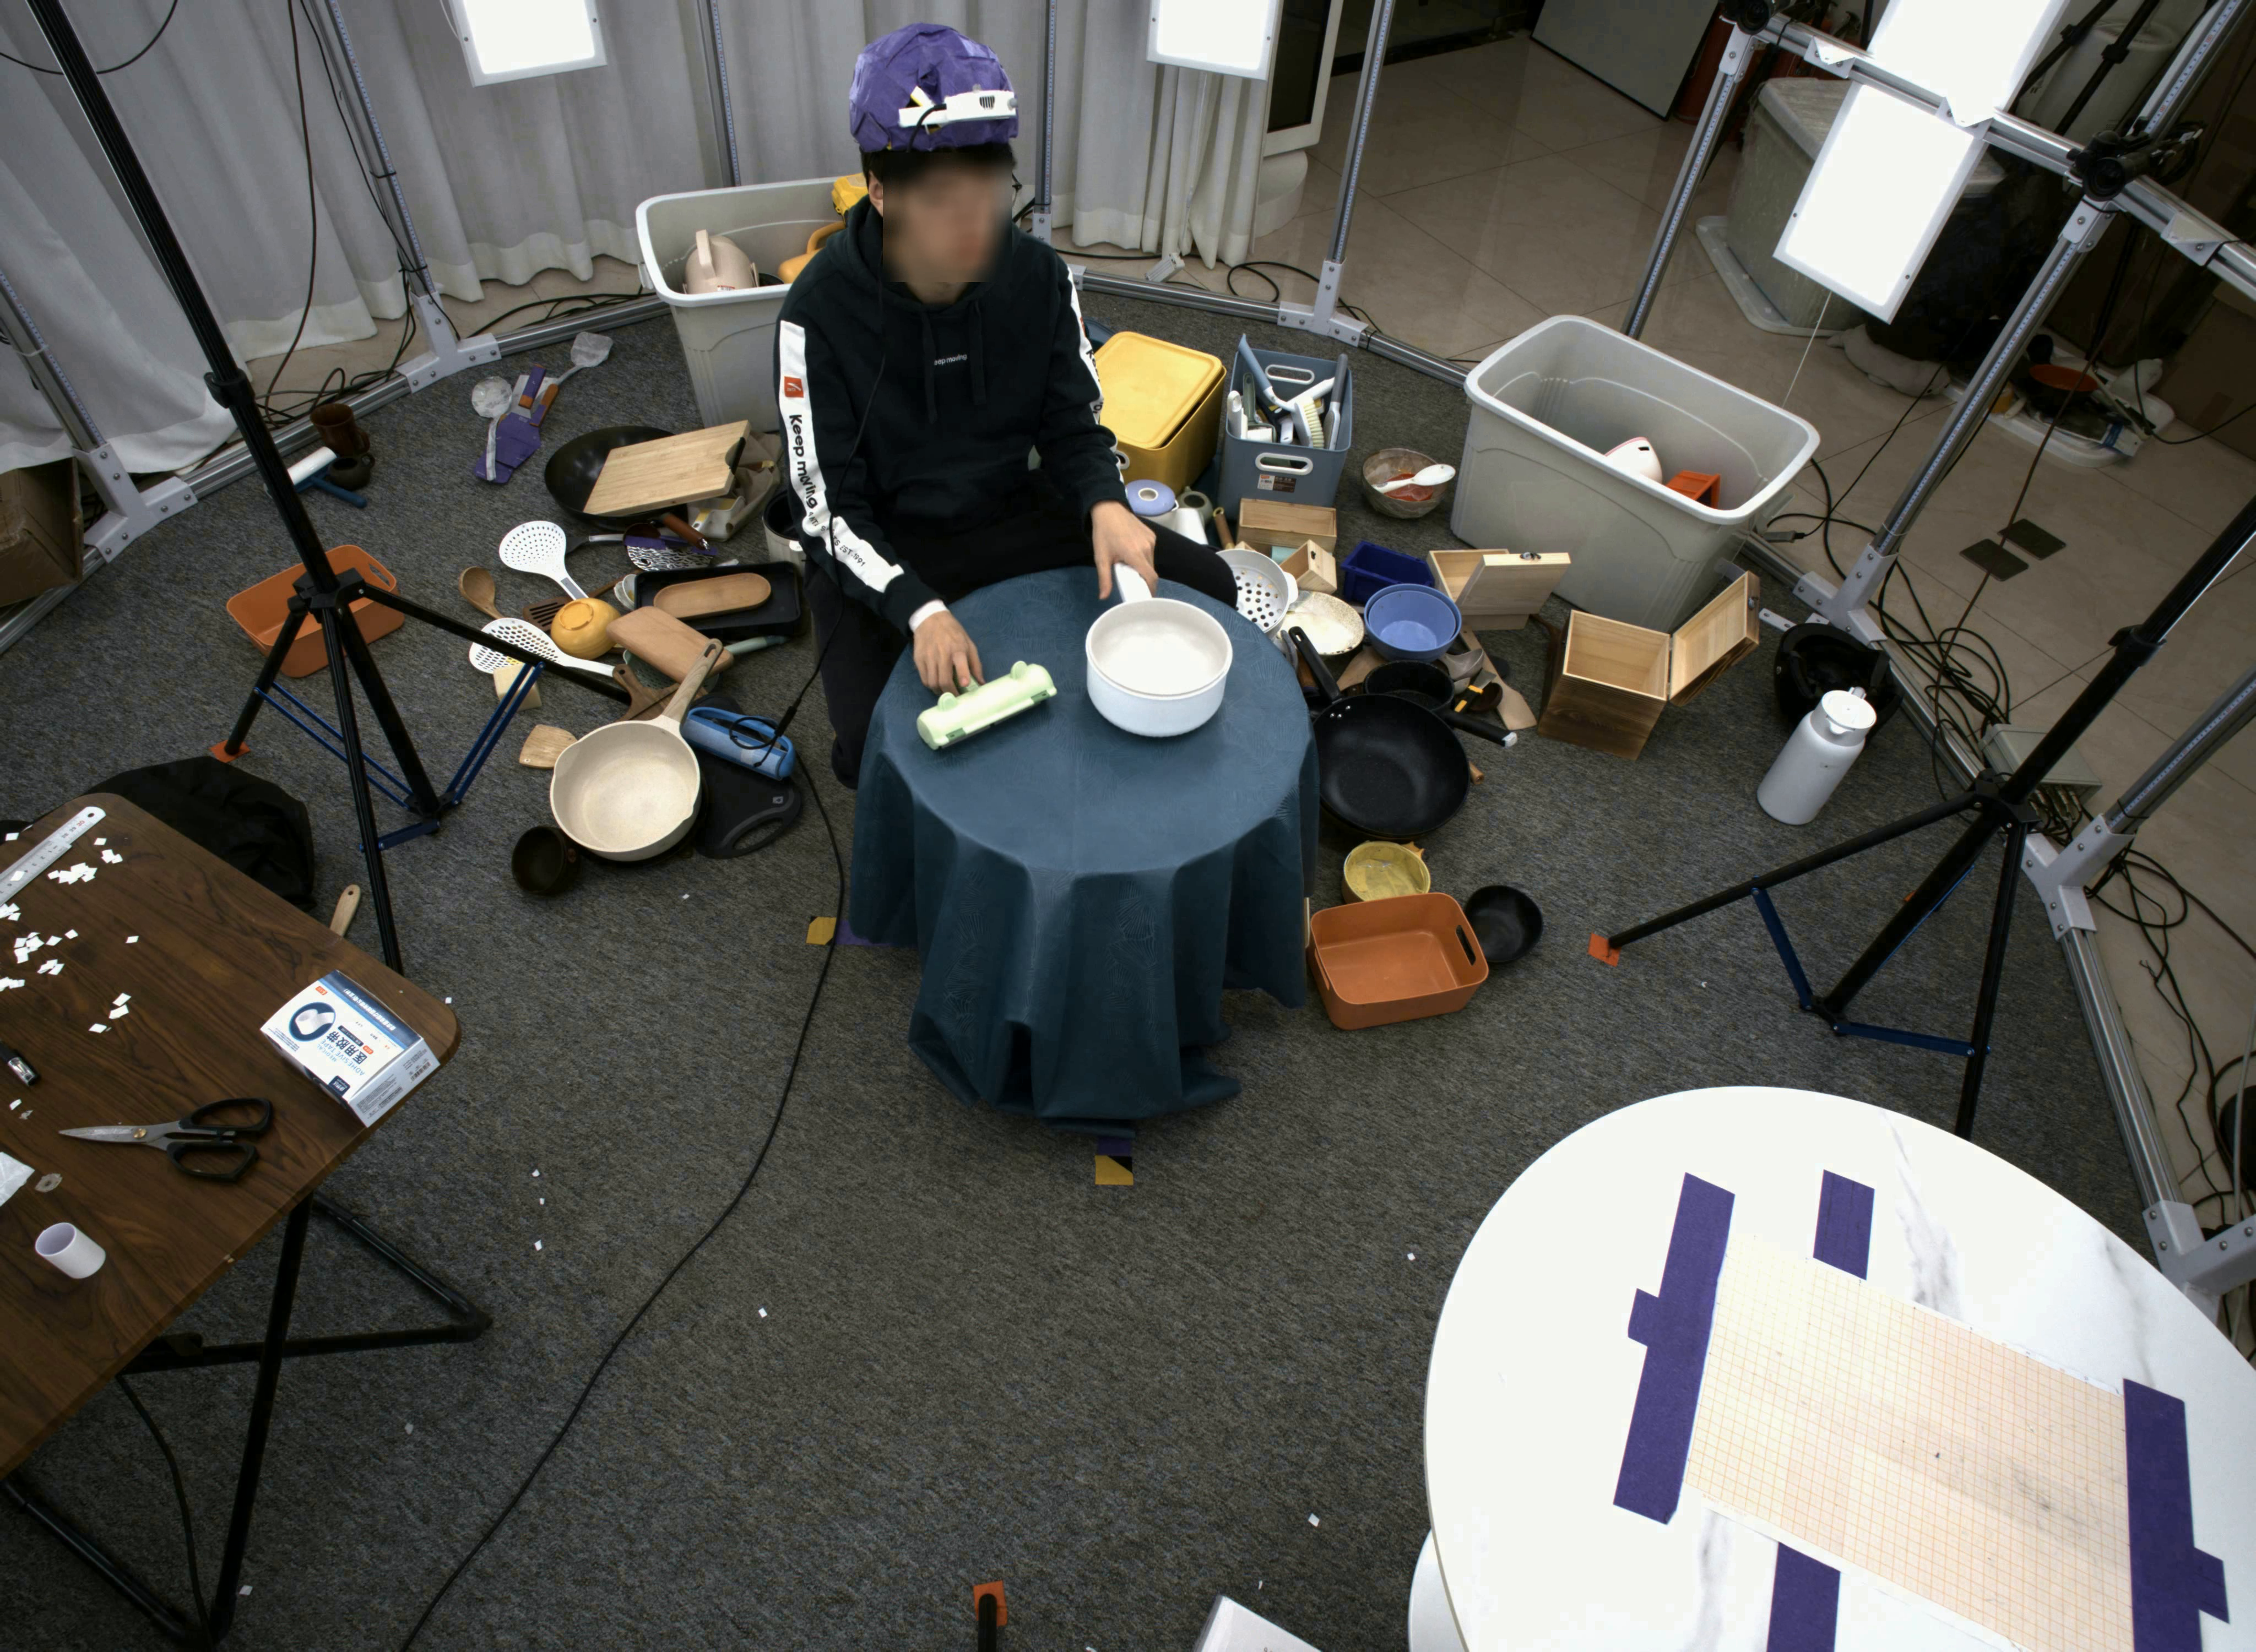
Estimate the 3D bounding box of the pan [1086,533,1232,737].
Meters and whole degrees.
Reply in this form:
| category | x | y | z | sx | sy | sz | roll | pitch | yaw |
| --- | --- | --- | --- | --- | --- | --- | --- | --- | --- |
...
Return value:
| category | x | y | z | sx | sy | sz | roll | pitch | yaw |
| --- | --- | --- | --- | --- | --- | --- | --- | --- | --- |
| pan | 0.025 | -0.275 | 1.844 | 0.201 | 0.099 | 0.364 | -8 | 49 | -10 |

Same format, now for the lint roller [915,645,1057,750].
| category | x | y | z | sx | sy | sz | roll | pitch | yaw |
| --- | --- | --- | --- | --- | --- | --- | --- | --- | --- |
| lint roller | -0.226 | -0.208 | 1.785 | 0.199 | 0.080 | 0.186 | -27 | 61 | -24 |
